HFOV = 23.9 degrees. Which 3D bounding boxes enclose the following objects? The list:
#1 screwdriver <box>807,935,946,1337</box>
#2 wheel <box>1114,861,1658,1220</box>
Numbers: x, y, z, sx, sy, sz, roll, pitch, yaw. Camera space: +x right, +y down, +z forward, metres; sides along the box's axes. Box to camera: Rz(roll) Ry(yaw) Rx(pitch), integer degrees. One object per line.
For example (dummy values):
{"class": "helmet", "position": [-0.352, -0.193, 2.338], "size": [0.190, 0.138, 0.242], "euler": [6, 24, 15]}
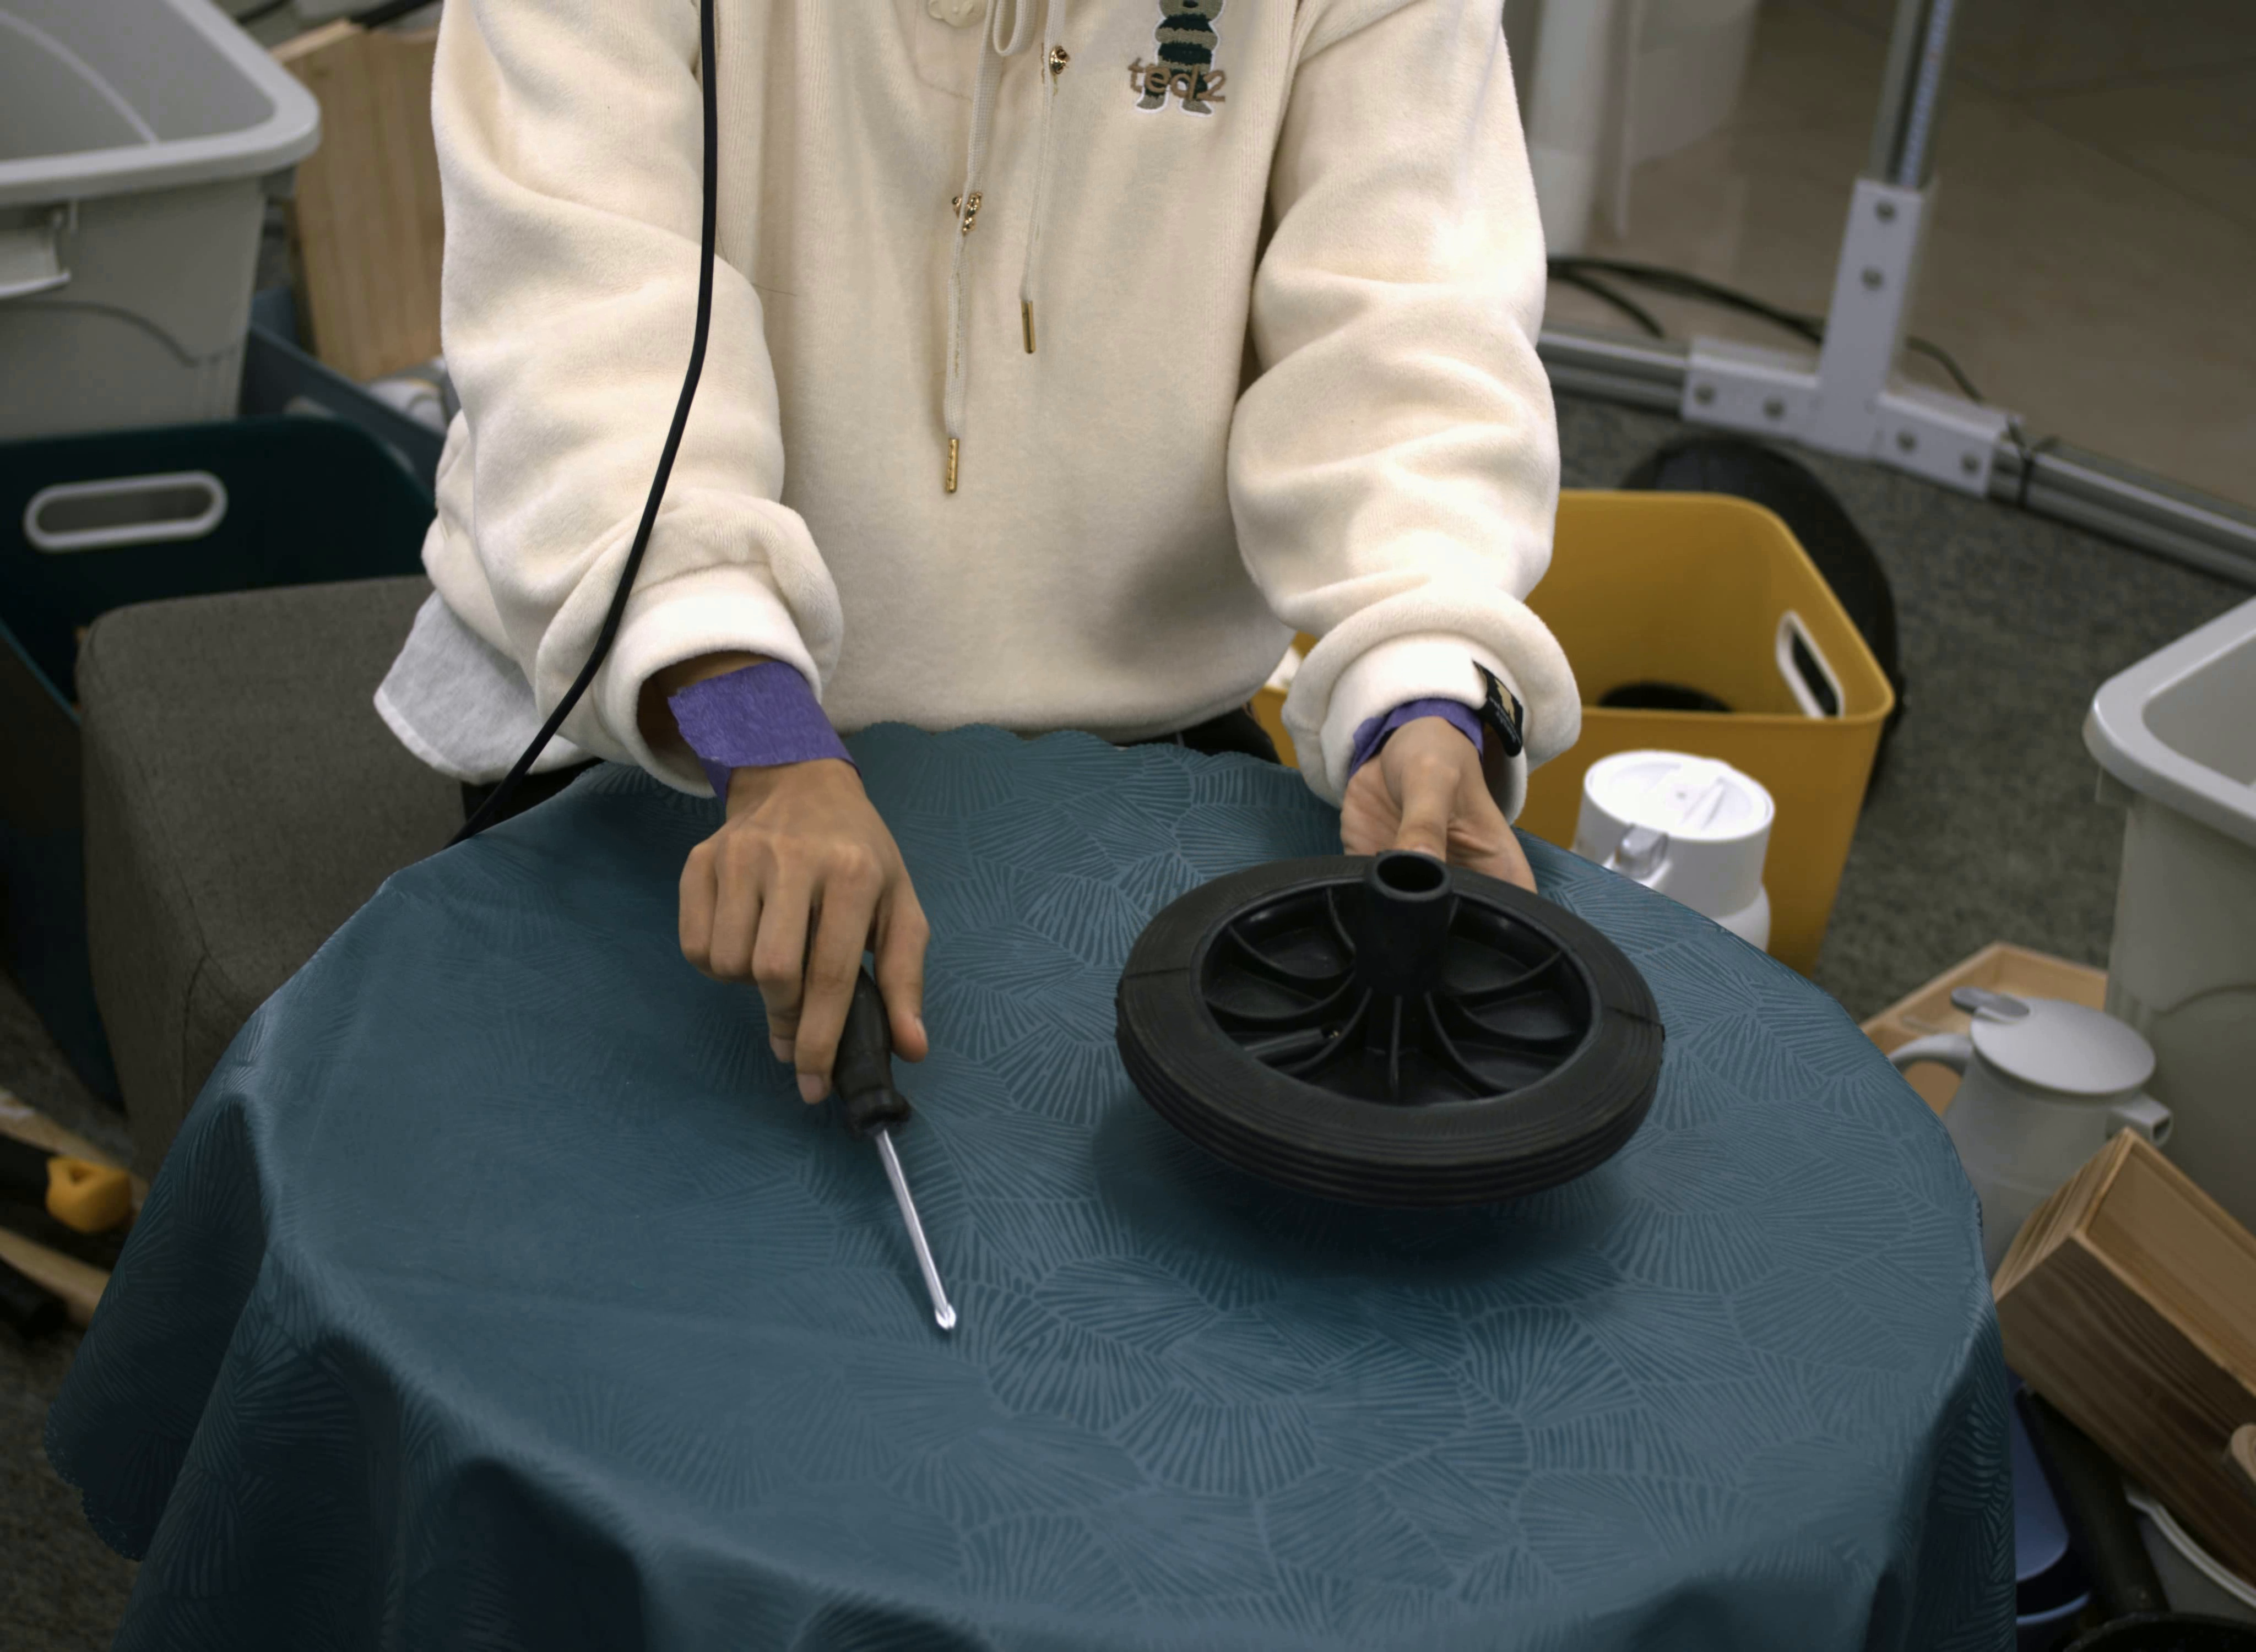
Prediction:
{"class": "screwdriver", "position": [-0.077, 0.102, 1.781], "size": [0.031, 0.031, 0.198], "euler": [-2, 37, -17]}
{"class": "wheel", "position": [0.089, 0.054, 1.813], "size": [0.188, 0.079, 0.189], "euler": [26, 39, 30]}
